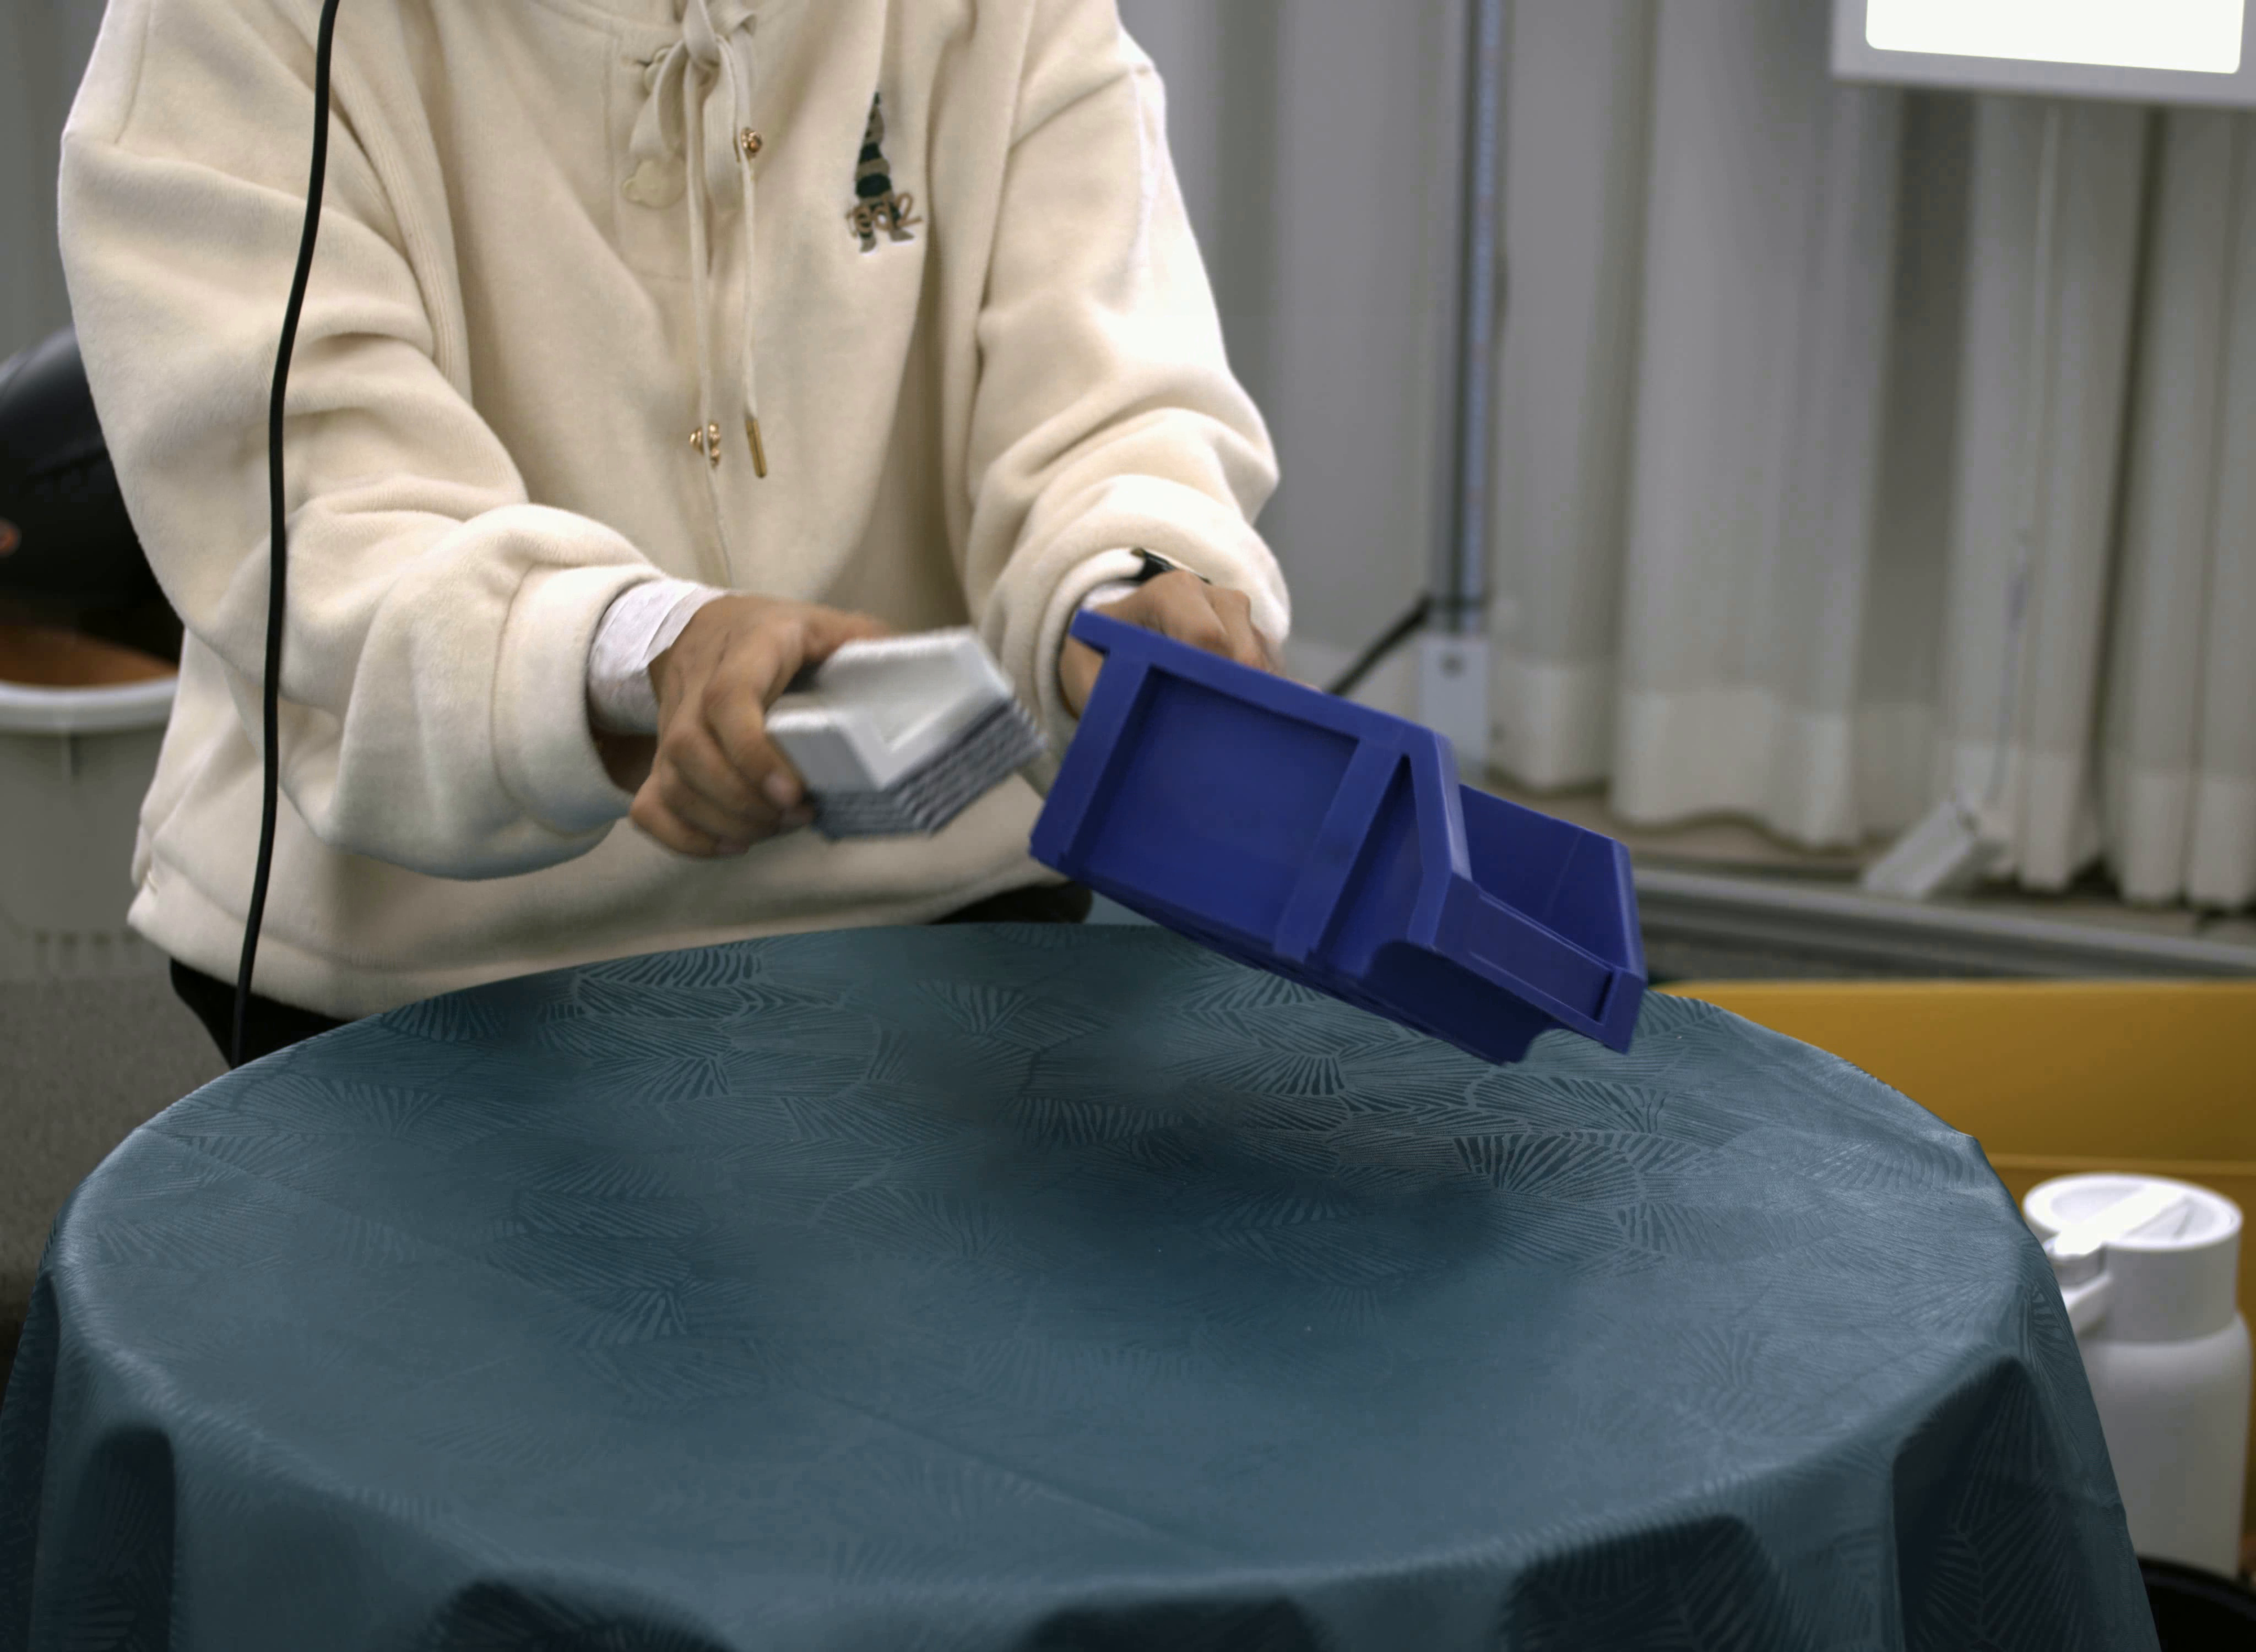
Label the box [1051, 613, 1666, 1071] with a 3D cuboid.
[{"bbox_3d":[0.074,0.011,1.648,0.177,0.082,0.126,18,-8,40],"label":"box"}]

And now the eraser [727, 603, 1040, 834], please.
[{"bbox_3d":[-0.073,-0.030,1.566,0.050,0.047,0.133,-41,12,-17],"label":"eraser"}]
